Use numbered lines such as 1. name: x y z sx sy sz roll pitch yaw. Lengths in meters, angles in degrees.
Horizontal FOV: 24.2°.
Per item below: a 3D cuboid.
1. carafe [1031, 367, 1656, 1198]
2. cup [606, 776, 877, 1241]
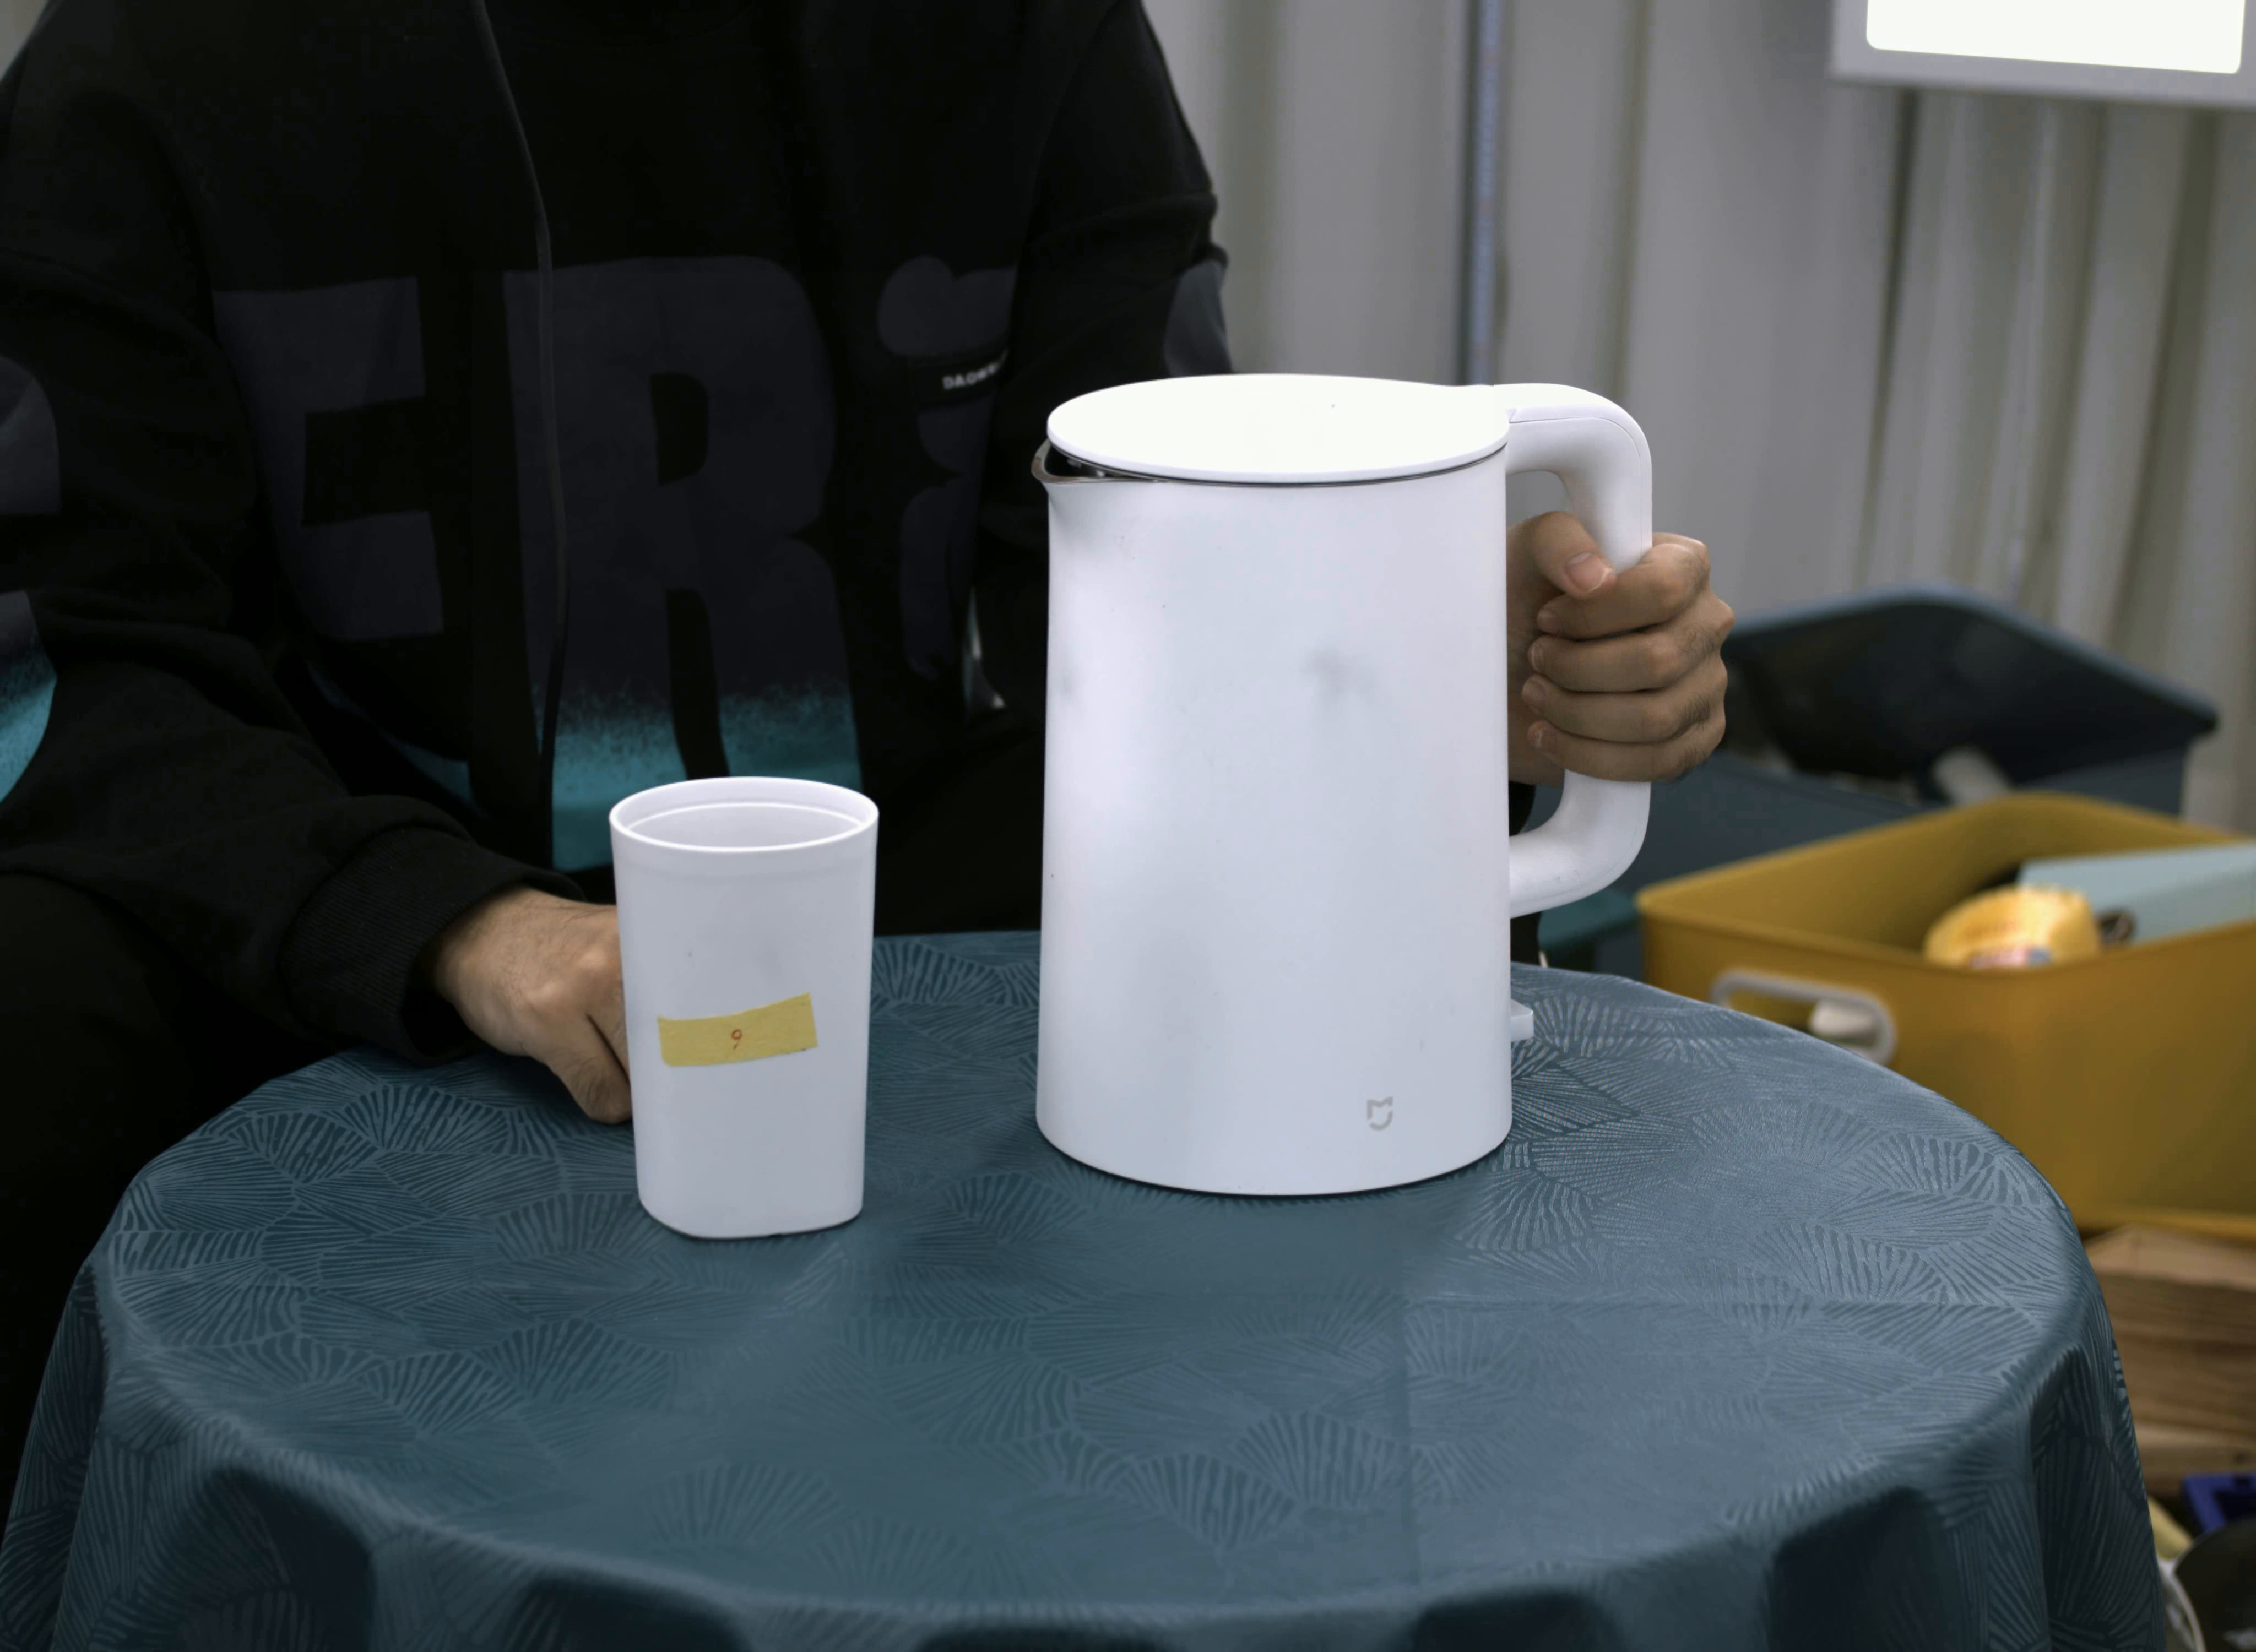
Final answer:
1. carafe: 0.070 -0.019 1.661 0.214 0.242 0.150 -9 20 -25
2. cup: -0.115 0.055 1.588 0.081 0.126 0.081 0 15 0
